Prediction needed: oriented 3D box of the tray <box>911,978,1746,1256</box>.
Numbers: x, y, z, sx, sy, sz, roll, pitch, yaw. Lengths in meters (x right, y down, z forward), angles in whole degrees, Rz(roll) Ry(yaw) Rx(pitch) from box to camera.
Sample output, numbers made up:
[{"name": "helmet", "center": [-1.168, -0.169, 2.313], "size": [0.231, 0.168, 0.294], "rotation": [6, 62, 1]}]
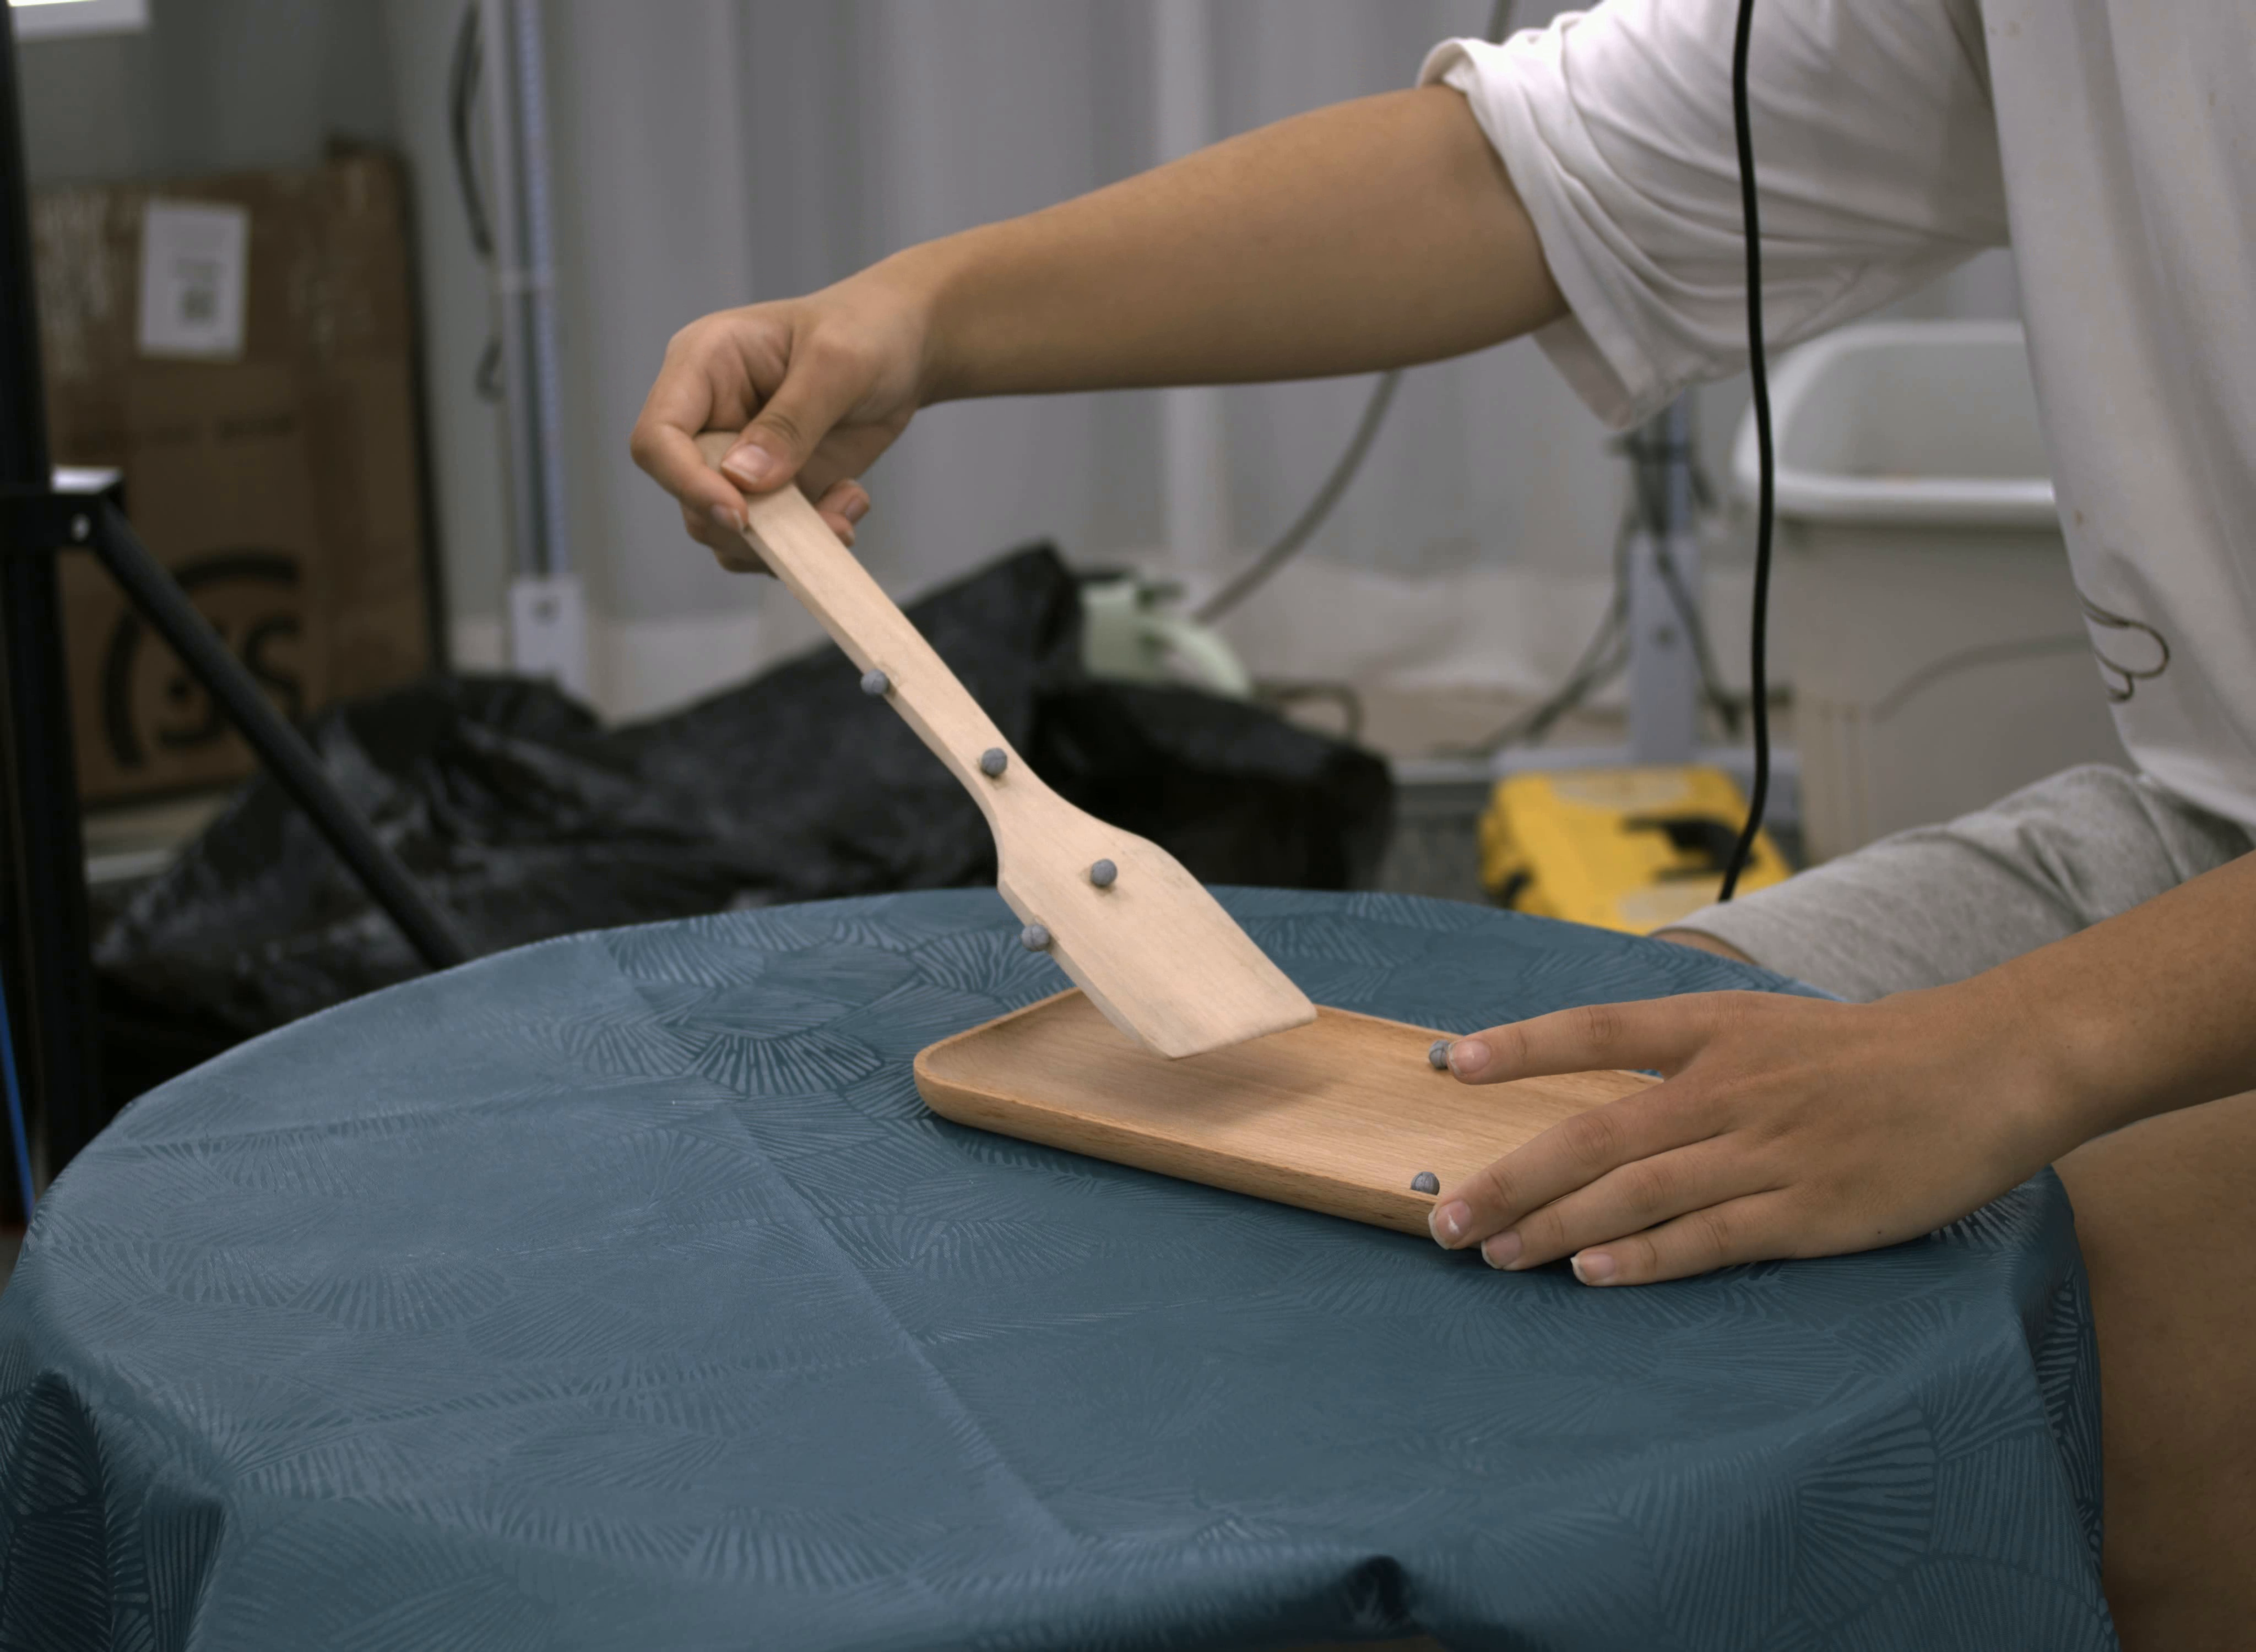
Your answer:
[{"name": "tray", "center": [0.058, 0.085, 1.605], "size": [0.256, 0.023, 0.127], "rotation": [11, 18, 40]}]

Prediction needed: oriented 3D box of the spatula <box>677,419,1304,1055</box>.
[{"name": "spatula", "center": [-0.055, -0.033, 1.682], "size": [0.070, 0.011, 0.298], "rotation": [-13, 51, -41]}]
